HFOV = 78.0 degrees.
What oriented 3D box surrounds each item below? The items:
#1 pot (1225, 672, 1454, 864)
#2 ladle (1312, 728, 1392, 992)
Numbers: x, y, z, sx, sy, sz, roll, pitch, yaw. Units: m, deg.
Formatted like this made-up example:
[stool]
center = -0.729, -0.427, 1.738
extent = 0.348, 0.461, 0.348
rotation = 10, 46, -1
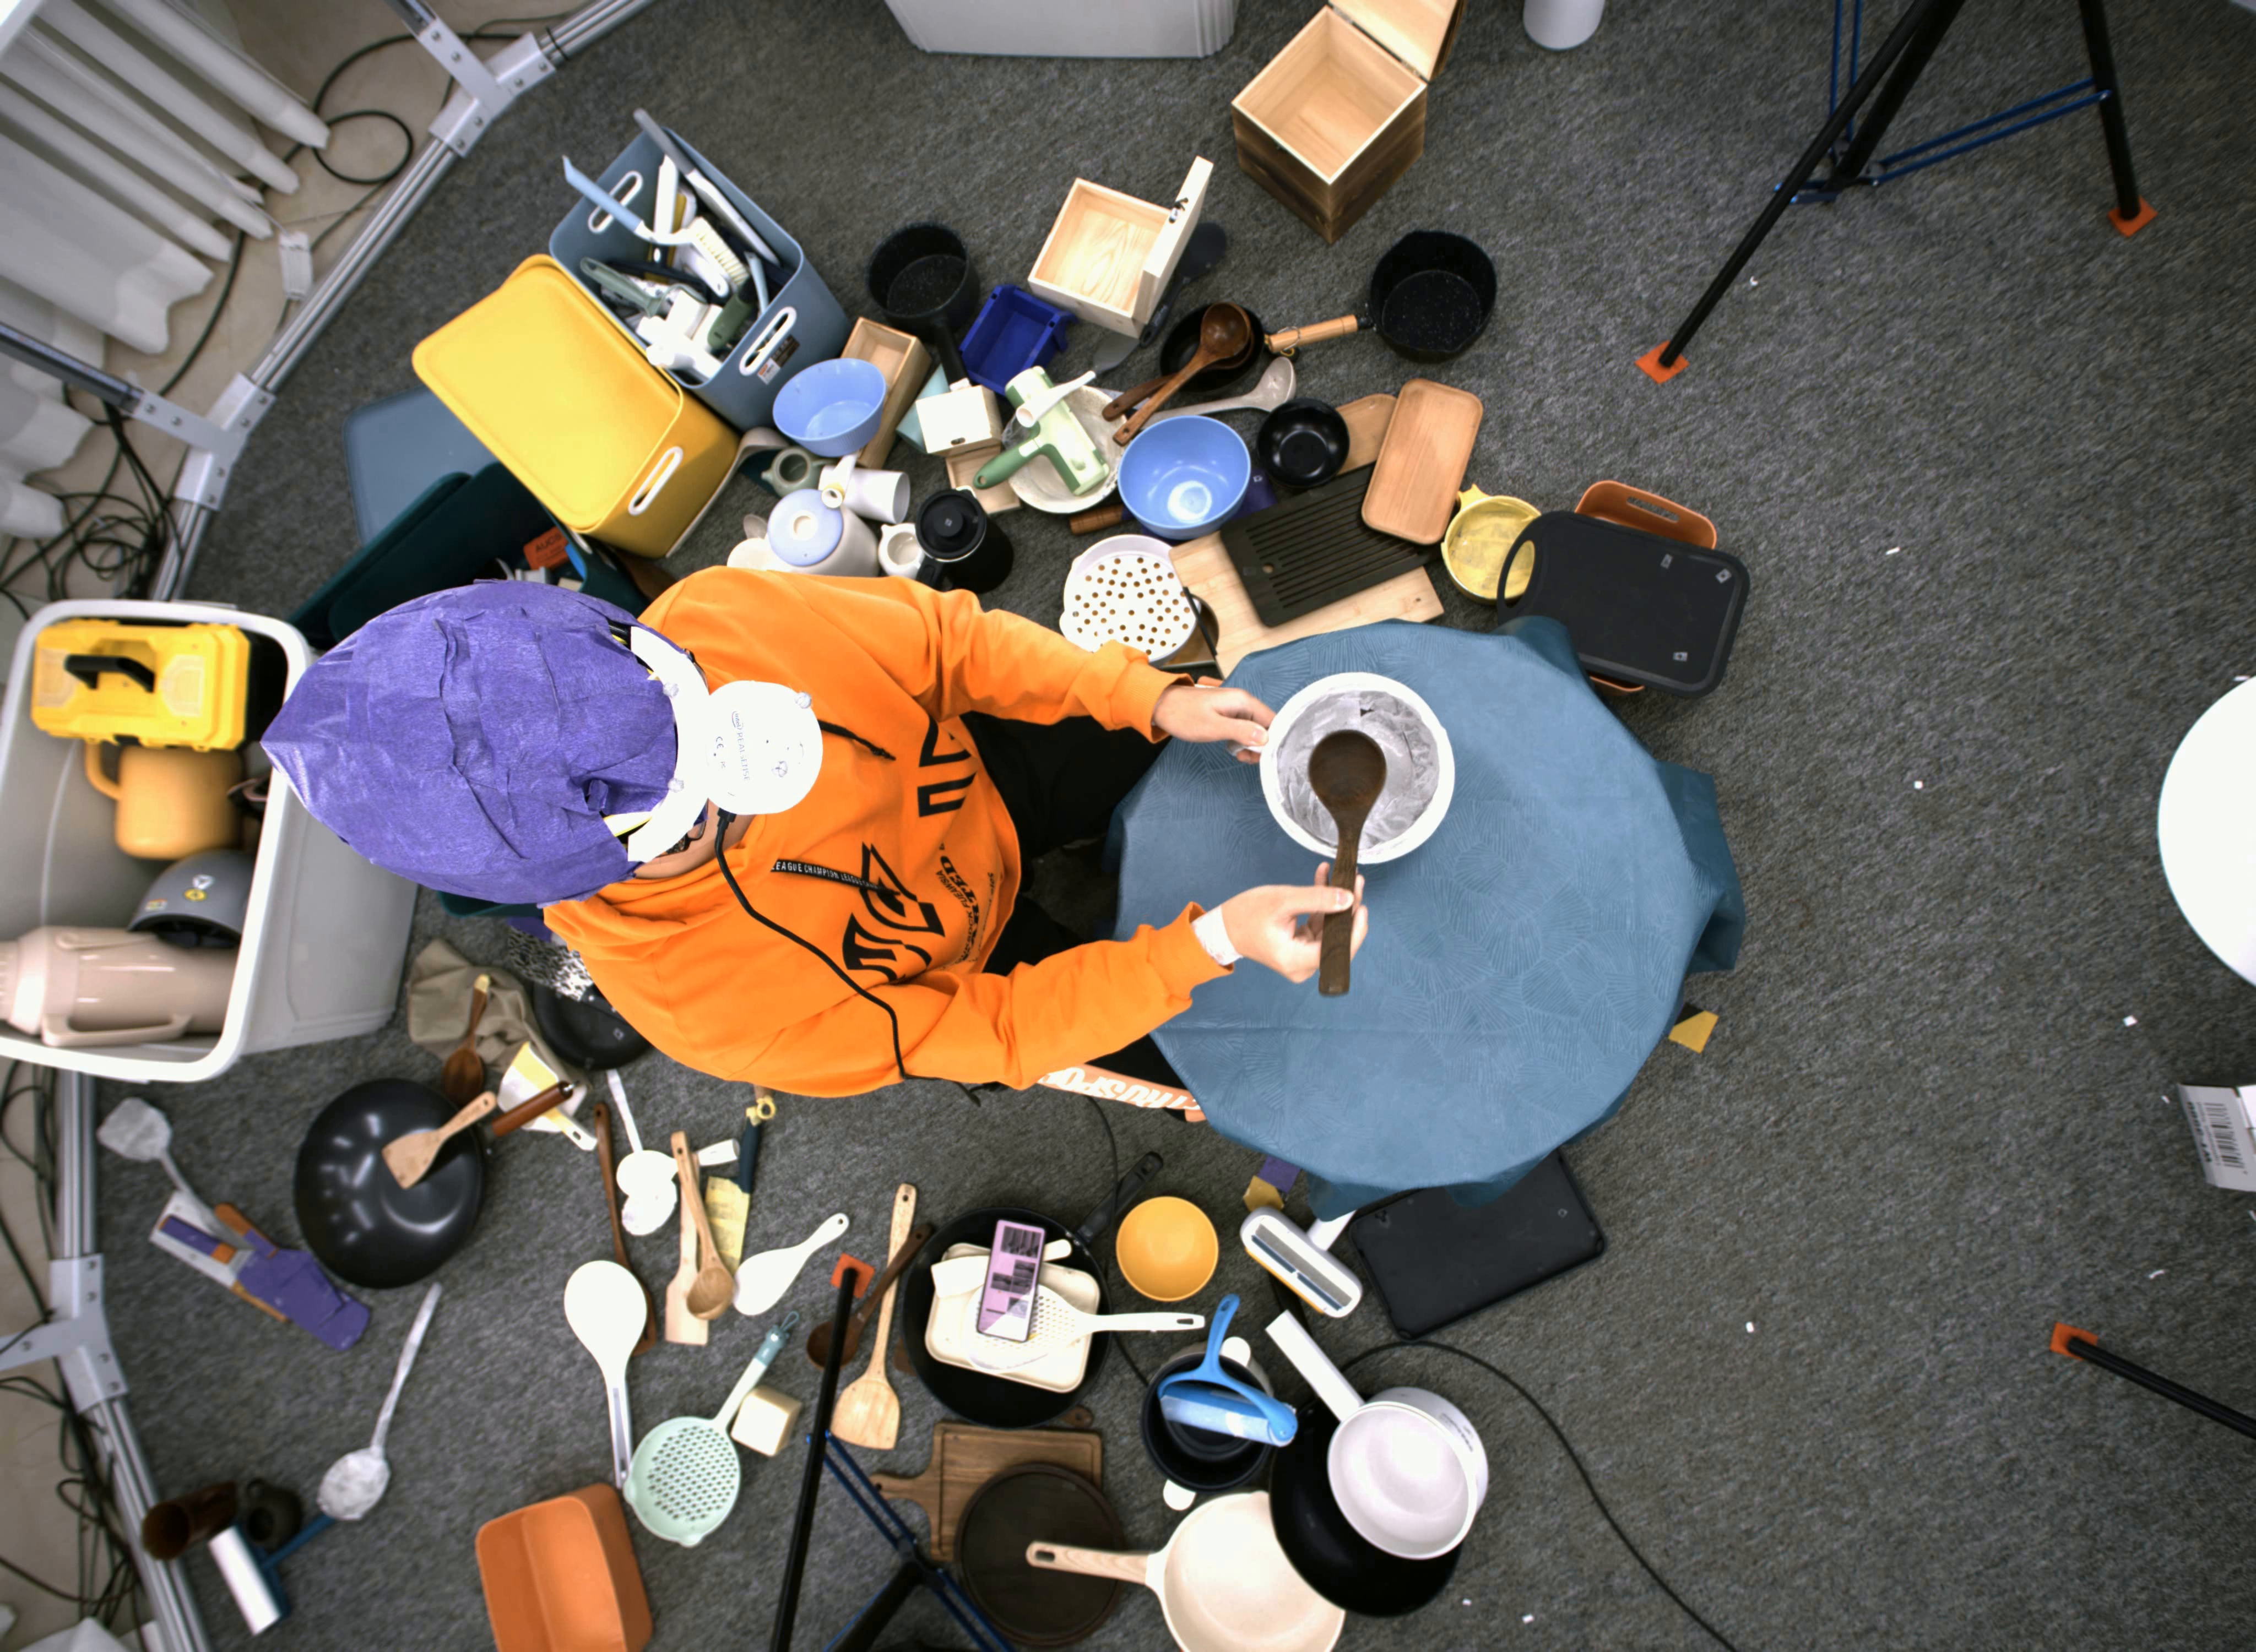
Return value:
[pot]
center = 0.201, -0.060, 1.353
extent = 0.234, 0.136, 0.179
rotation = 16, 93, 16
[ladle]
center = 0.188, 0.019, 1.217
extent = 0.077, 0.072, 0.266
rotation = -8, 41, 24
